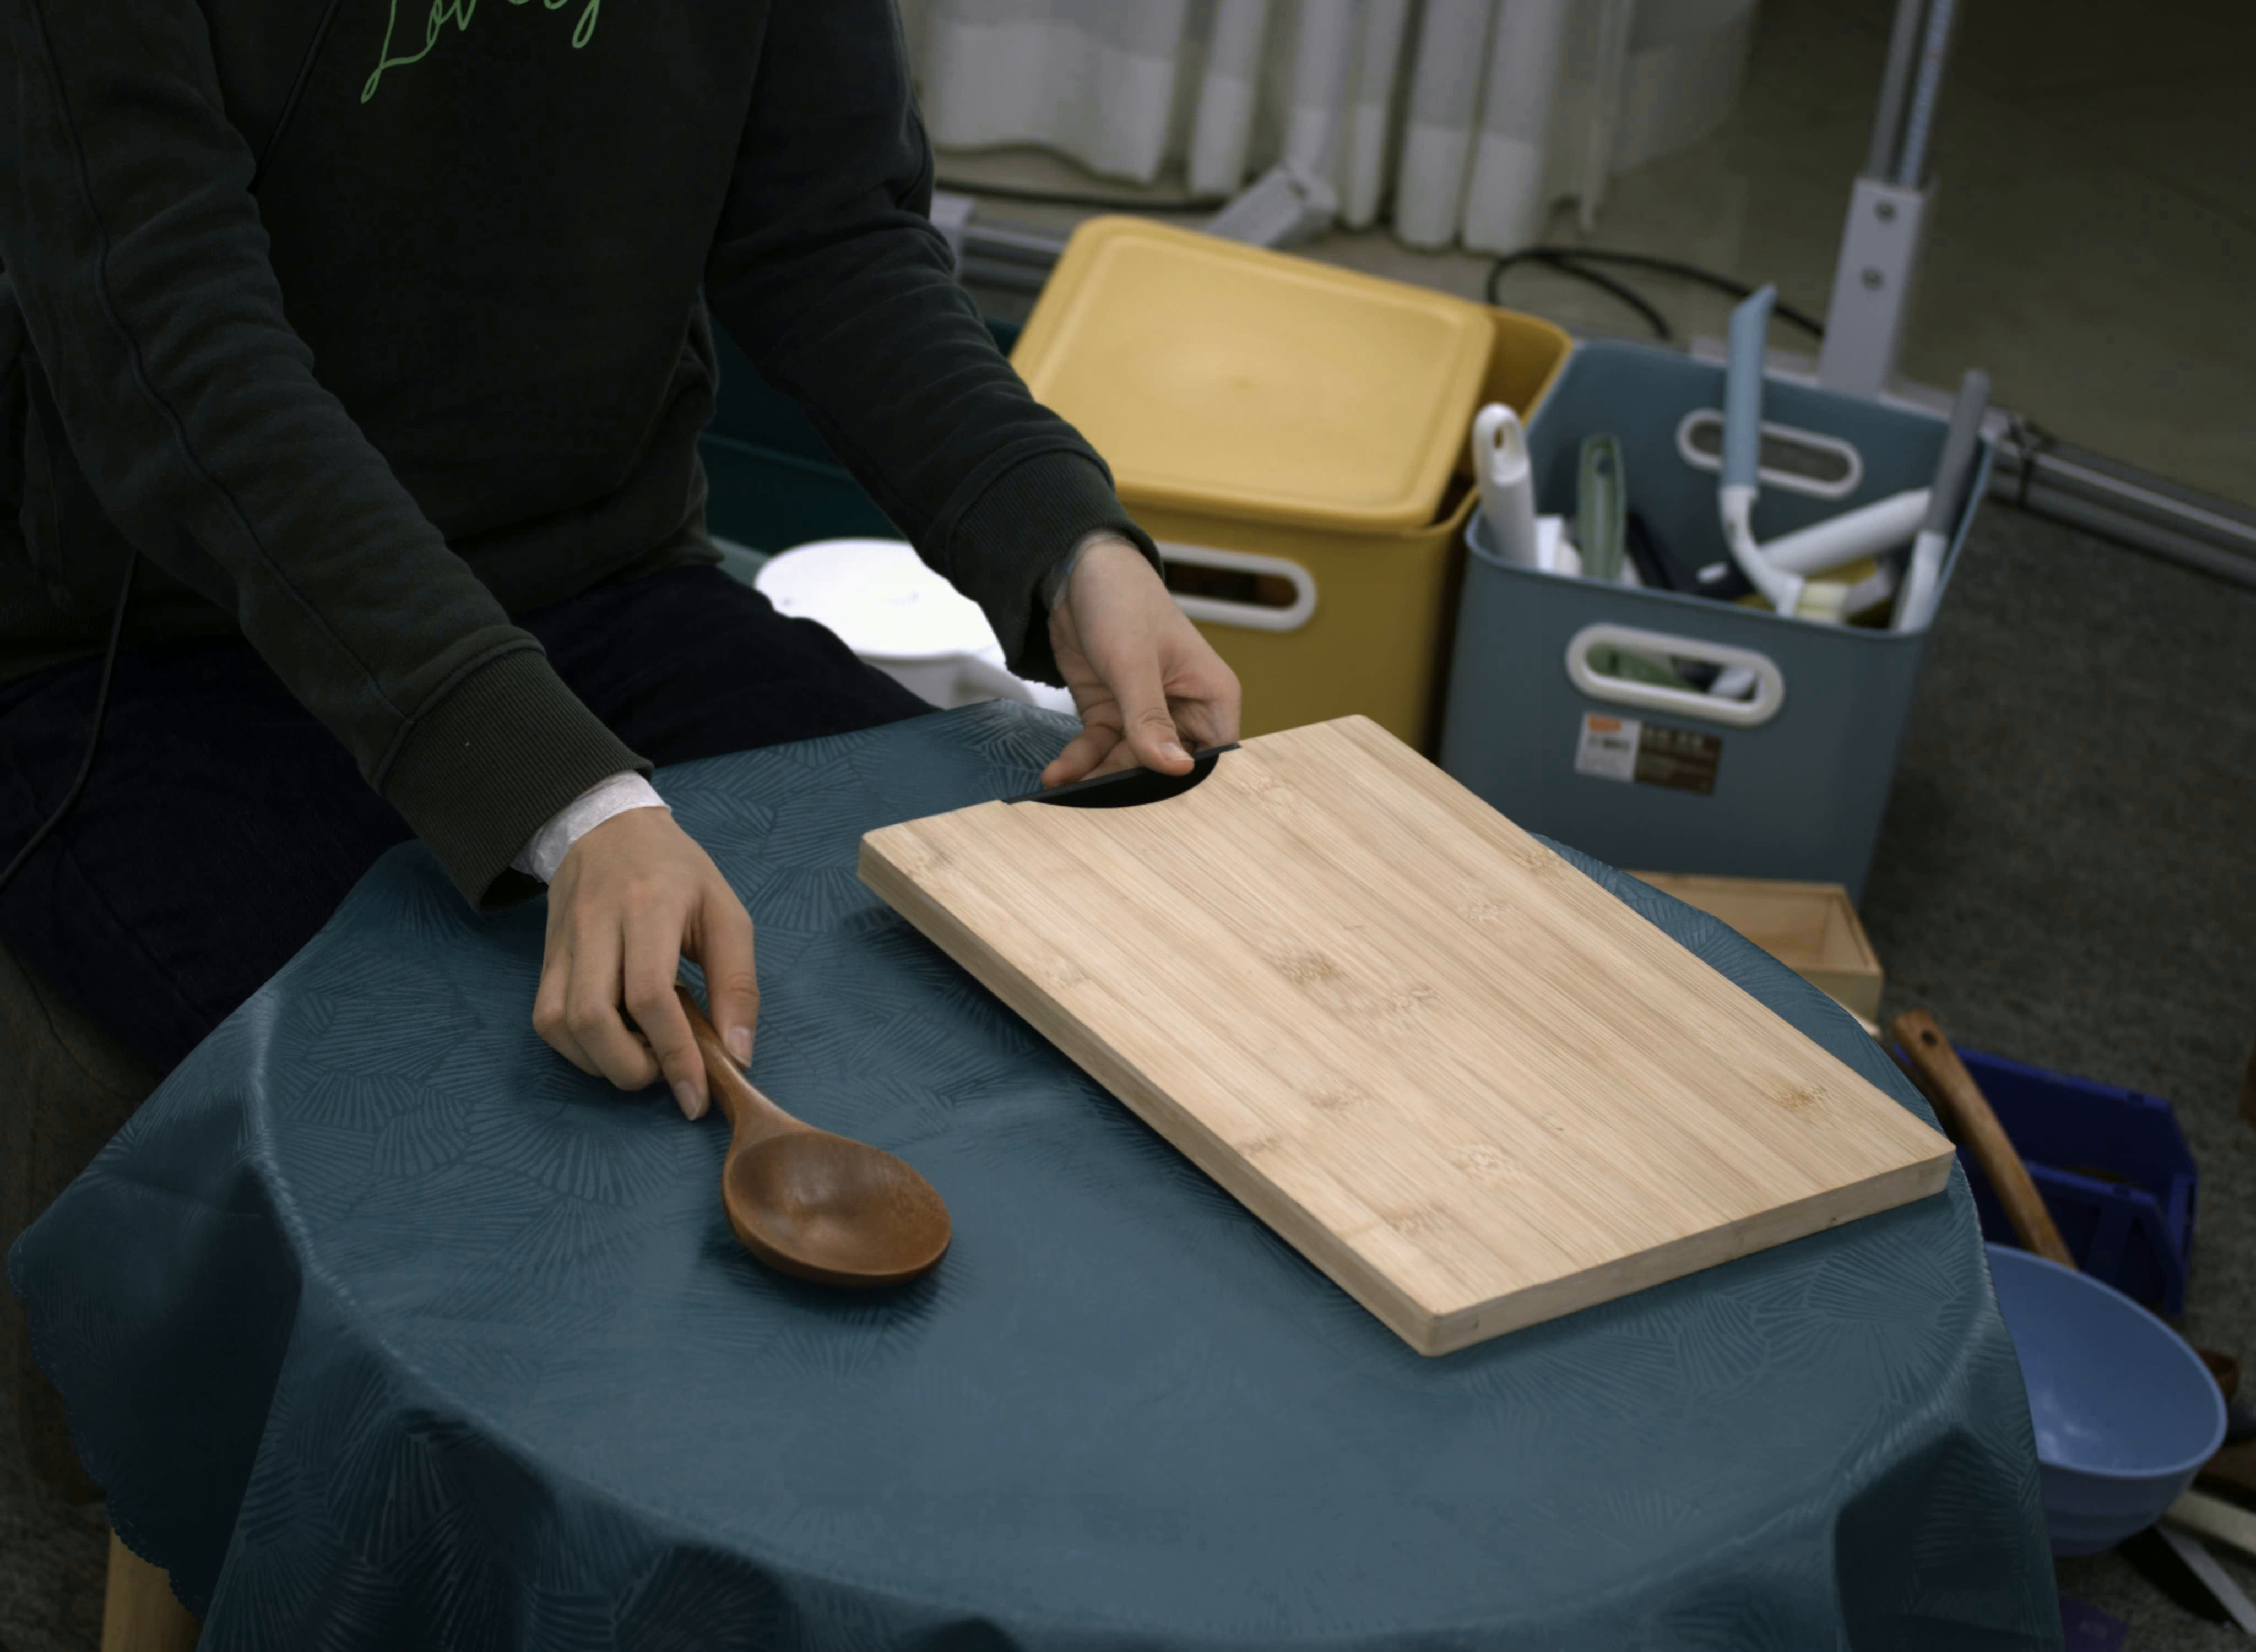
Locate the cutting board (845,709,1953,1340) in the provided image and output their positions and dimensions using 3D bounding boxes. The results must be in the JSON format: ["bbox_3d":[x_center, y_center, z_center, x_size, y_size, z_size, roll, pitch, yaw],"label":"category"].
[{"bbox_3d":[0.091,0.063,1.907,0.249,0.023,0.352,-13,35,-35],"label":"cutting board"}]

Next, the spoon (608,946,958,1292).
[{"bbox_3d":[-0.125,0.099,1.795,0.075,0.017,0.218,-9,33,-27],"label":"spoon"}]
